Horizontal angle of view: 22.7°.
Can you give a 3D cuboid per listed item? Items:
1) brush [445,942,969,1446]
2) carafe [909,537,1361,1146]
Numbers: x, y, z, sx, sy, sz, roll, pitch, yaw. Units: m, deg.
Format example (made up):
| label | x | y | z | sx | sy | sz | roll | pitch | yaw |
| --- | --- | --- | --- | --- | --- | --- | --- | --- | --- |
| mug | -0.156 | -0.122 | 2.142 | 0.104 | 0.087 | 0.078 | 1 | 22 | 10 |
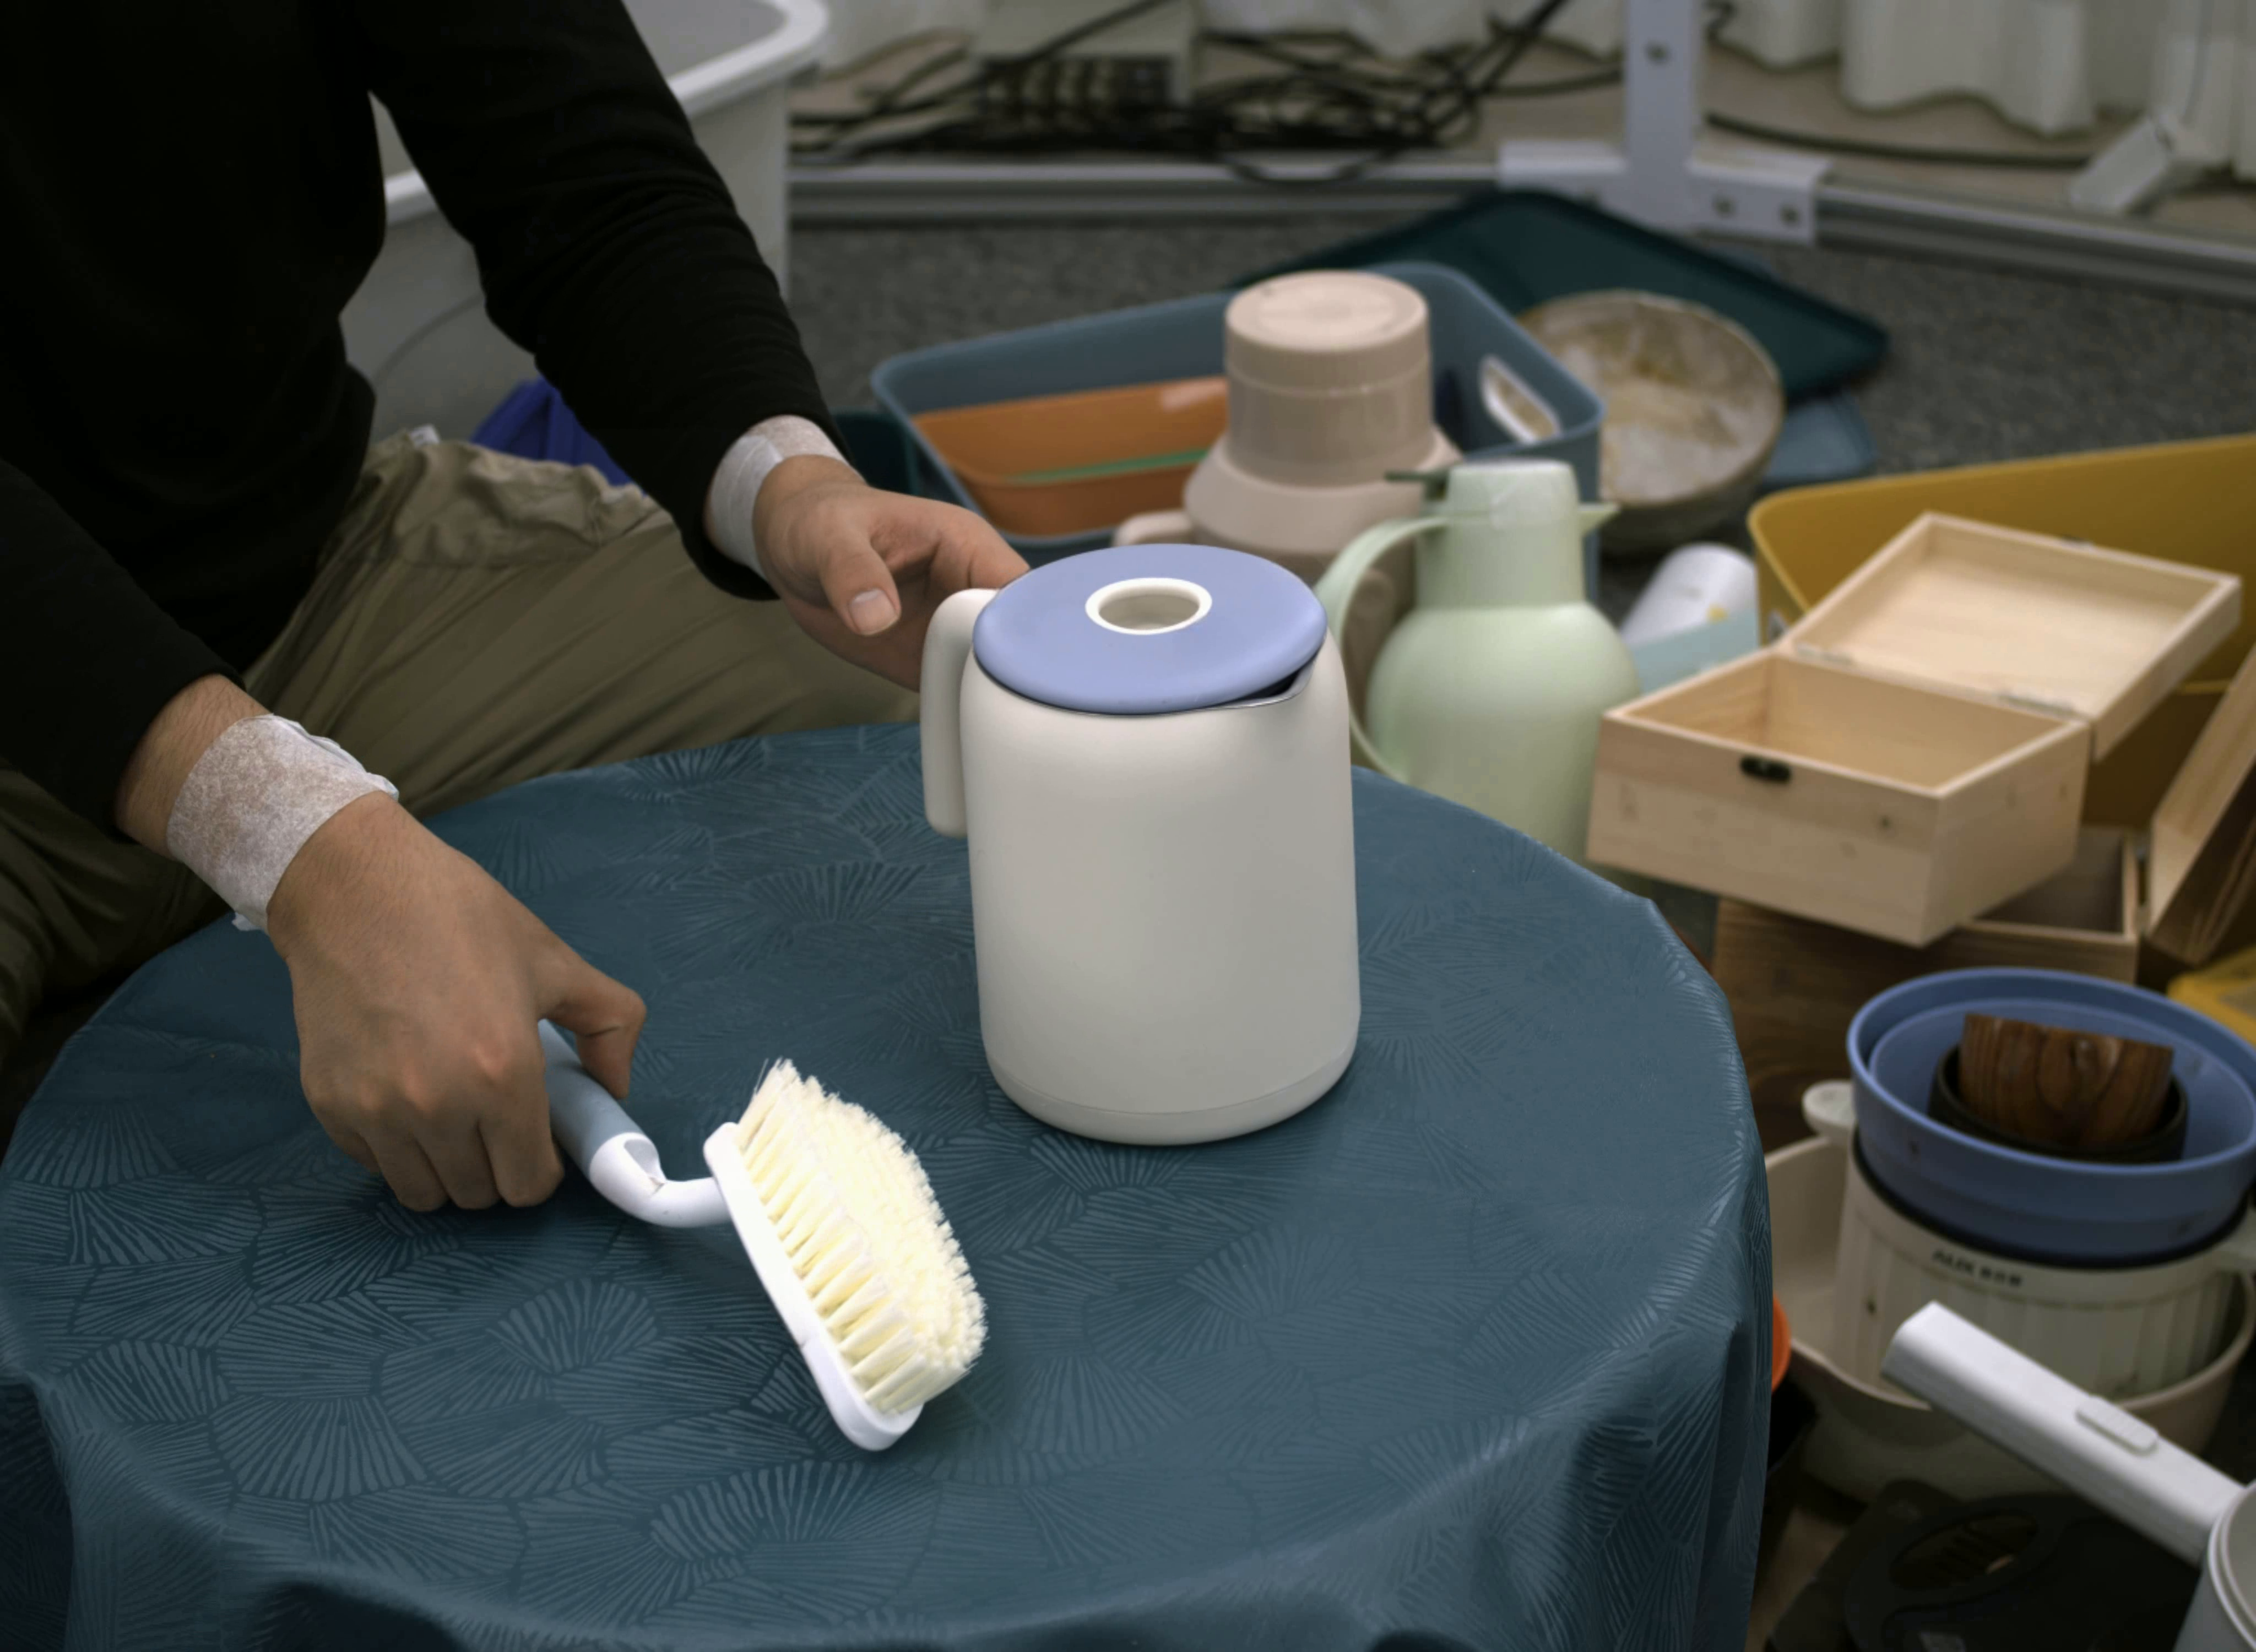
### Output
| label | x | y | z | sx | sy | sz | roll | pitch | yaw |
| --- | --- | --- | --- | --- | --- | --- | --- | --- | --- |
| brush | -0.137 | 0.091 | 1.841 | 0.085 | 0.082 | 0.327 | -20 | 34 | -20 |
| carafe | -0.006 | -0.003 | 1.917 | 0.134 | 0.181 | 0.191 | -25 | 33 | -38 |
